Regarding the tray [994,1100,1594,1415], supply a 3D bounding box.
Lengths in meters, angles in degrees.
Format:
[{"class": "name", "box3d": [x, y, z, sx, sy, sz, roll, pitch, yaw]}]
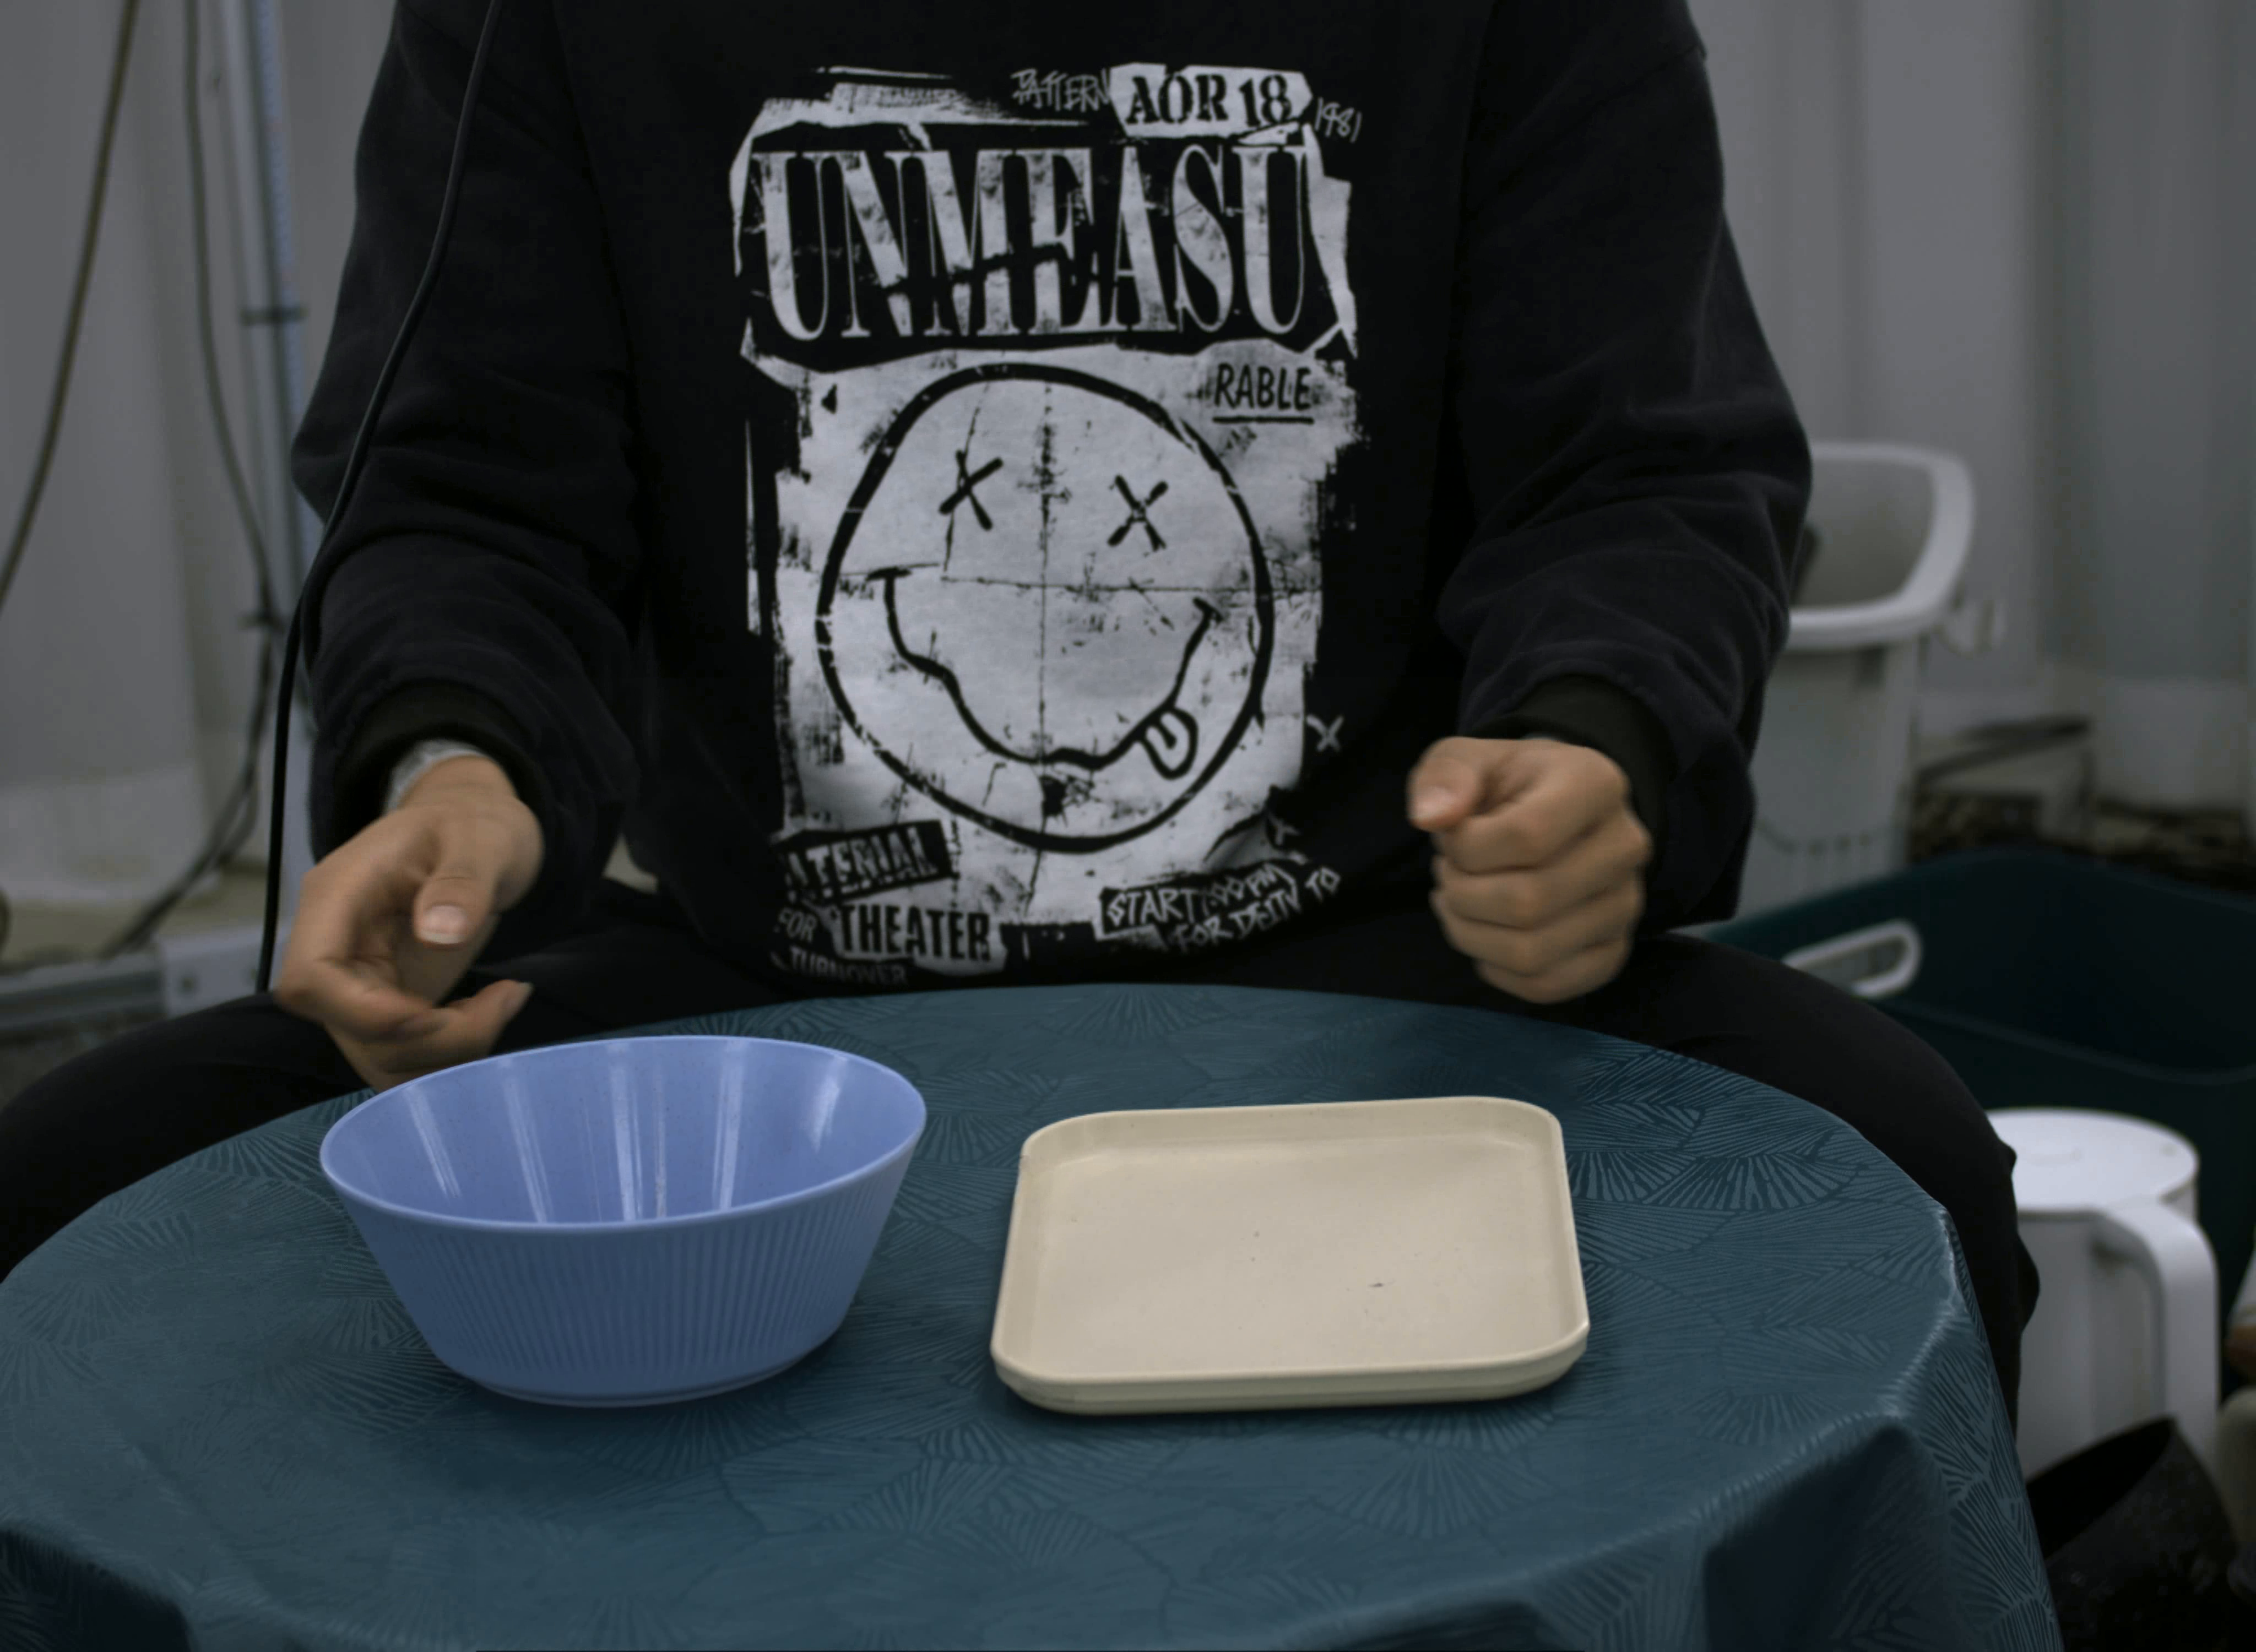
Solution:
[{"class": "tray", "box3d": [0.049, 0.127, 1.625, 0.171, 0.017, 0.241, -2, 15, 2]}]

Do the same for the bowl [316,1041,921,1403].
[{"class": "bowl", "box3d": [-0.147, 0.118, 1.594, 0.175, 0.070, 0.177, -2, 15, 0]}]
